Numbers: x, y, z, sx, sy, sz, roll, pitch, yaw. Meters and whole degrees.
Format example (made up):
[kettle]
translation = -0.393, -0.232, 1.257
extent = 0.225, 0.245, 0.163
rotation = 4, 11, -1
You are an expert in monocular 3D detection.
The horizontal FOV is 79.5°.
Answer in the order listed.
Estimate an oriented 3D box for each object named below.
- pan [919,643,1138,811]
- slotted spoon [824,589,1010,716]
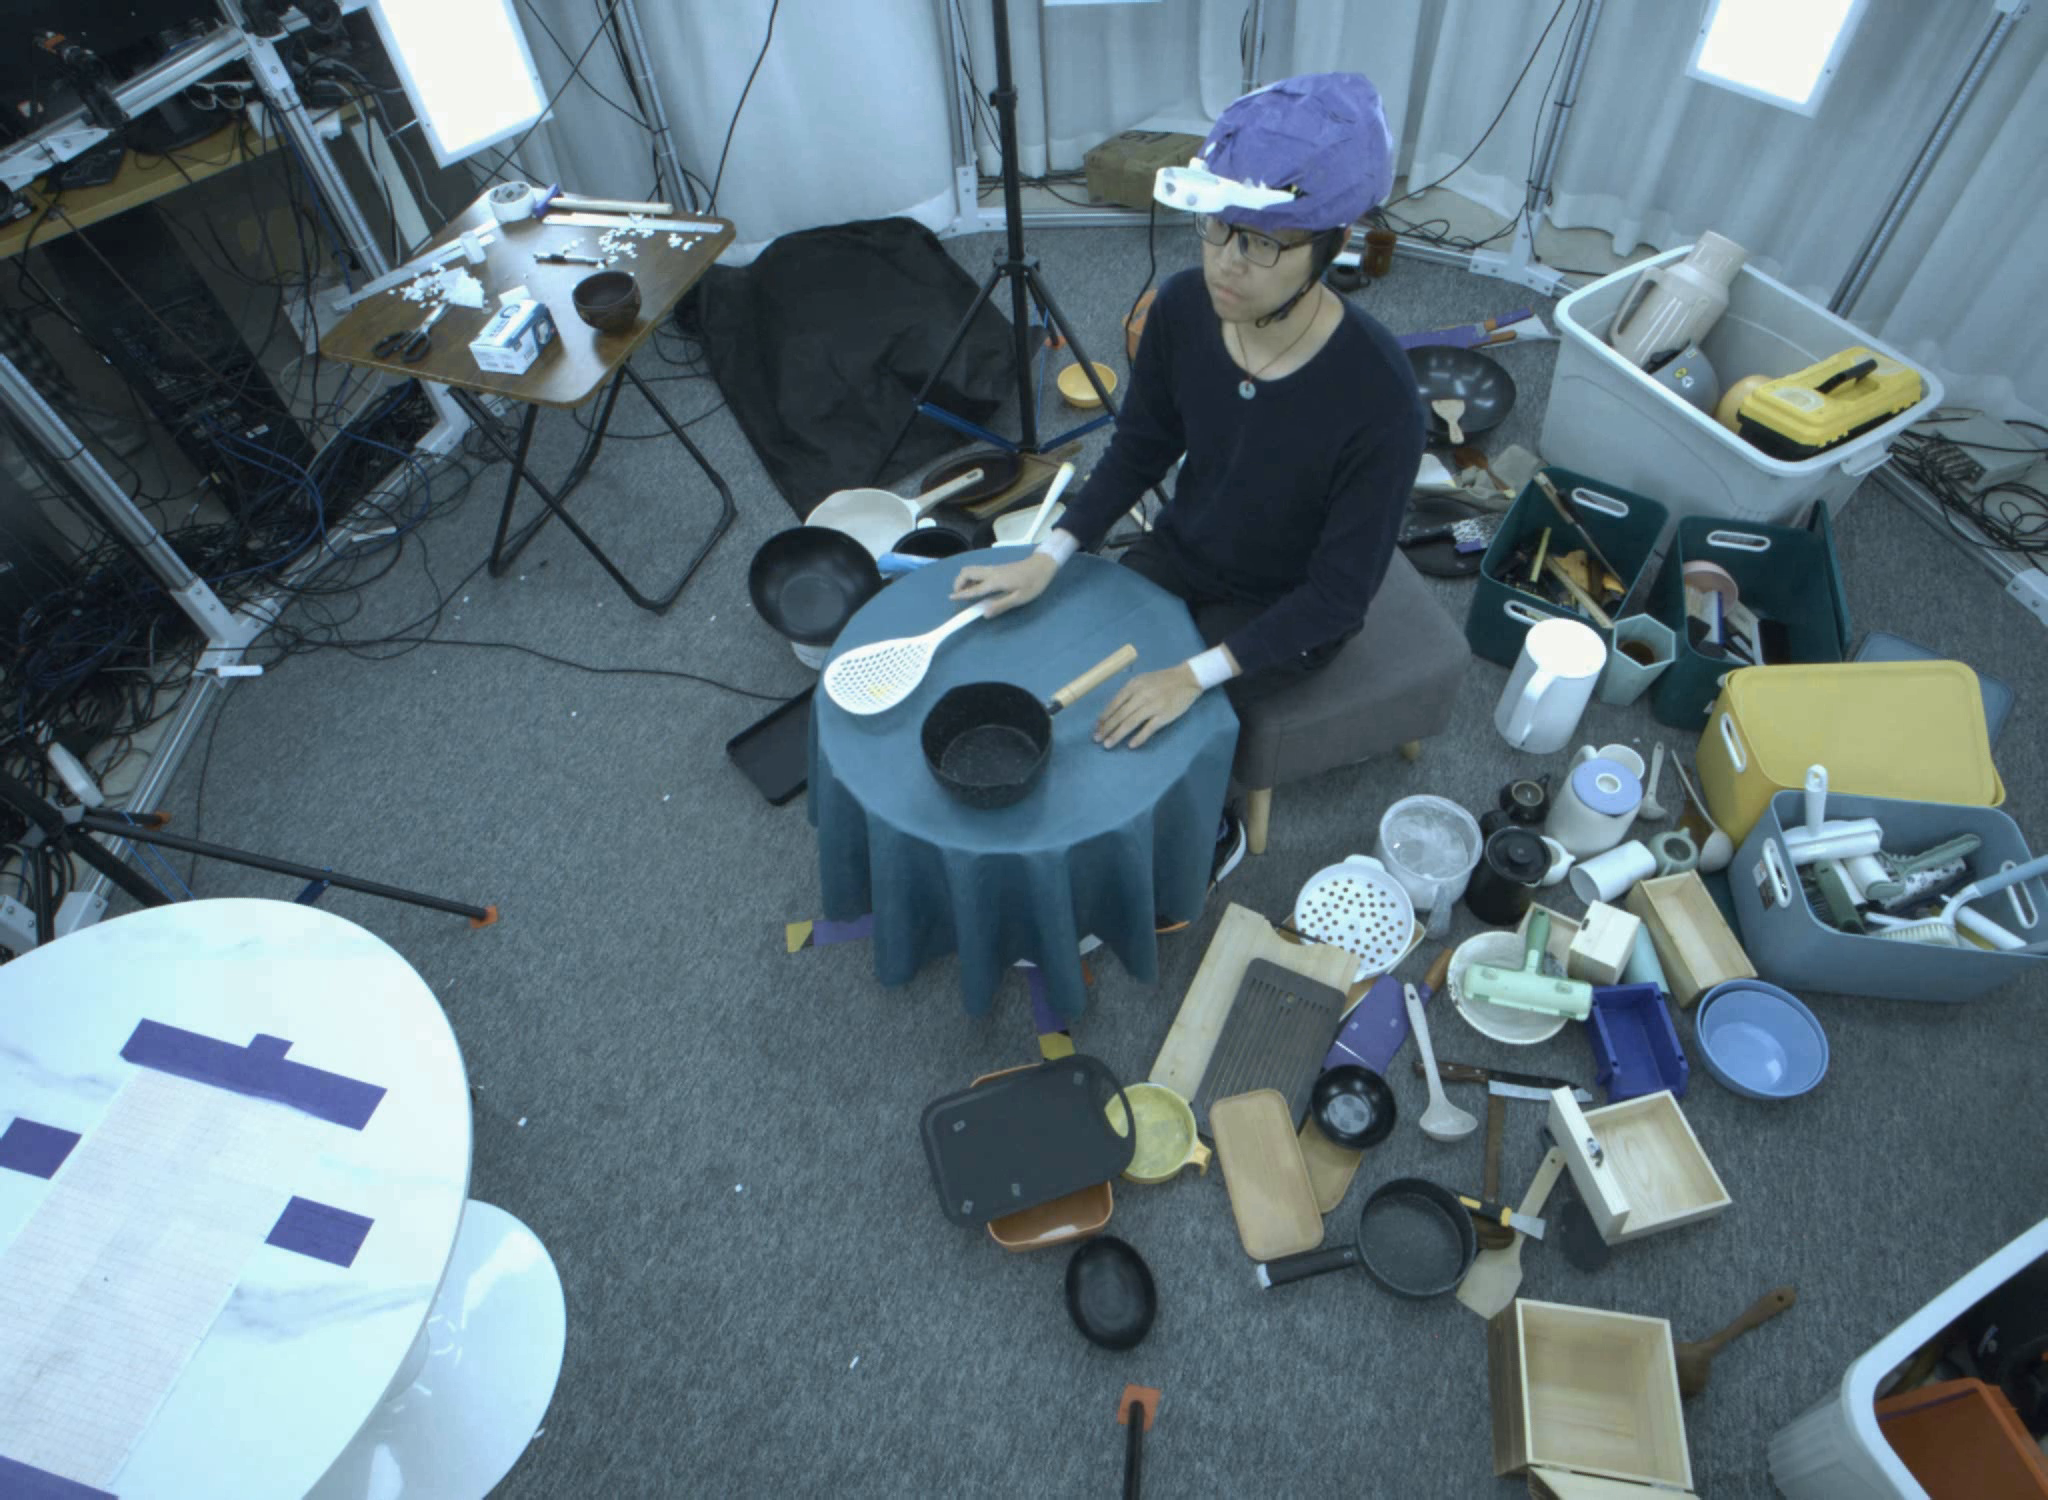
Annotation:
[pan]
translation = 0.016, -0.043, 1.751
extent = 0.345, 0.109, 0.203
rotation = -30, 57, -16
[slotted spoon]
translation = -0.149, -0.160, 1.880
extent = 0.350, 0.051, 0.134
rotation = -40, 60, -21
